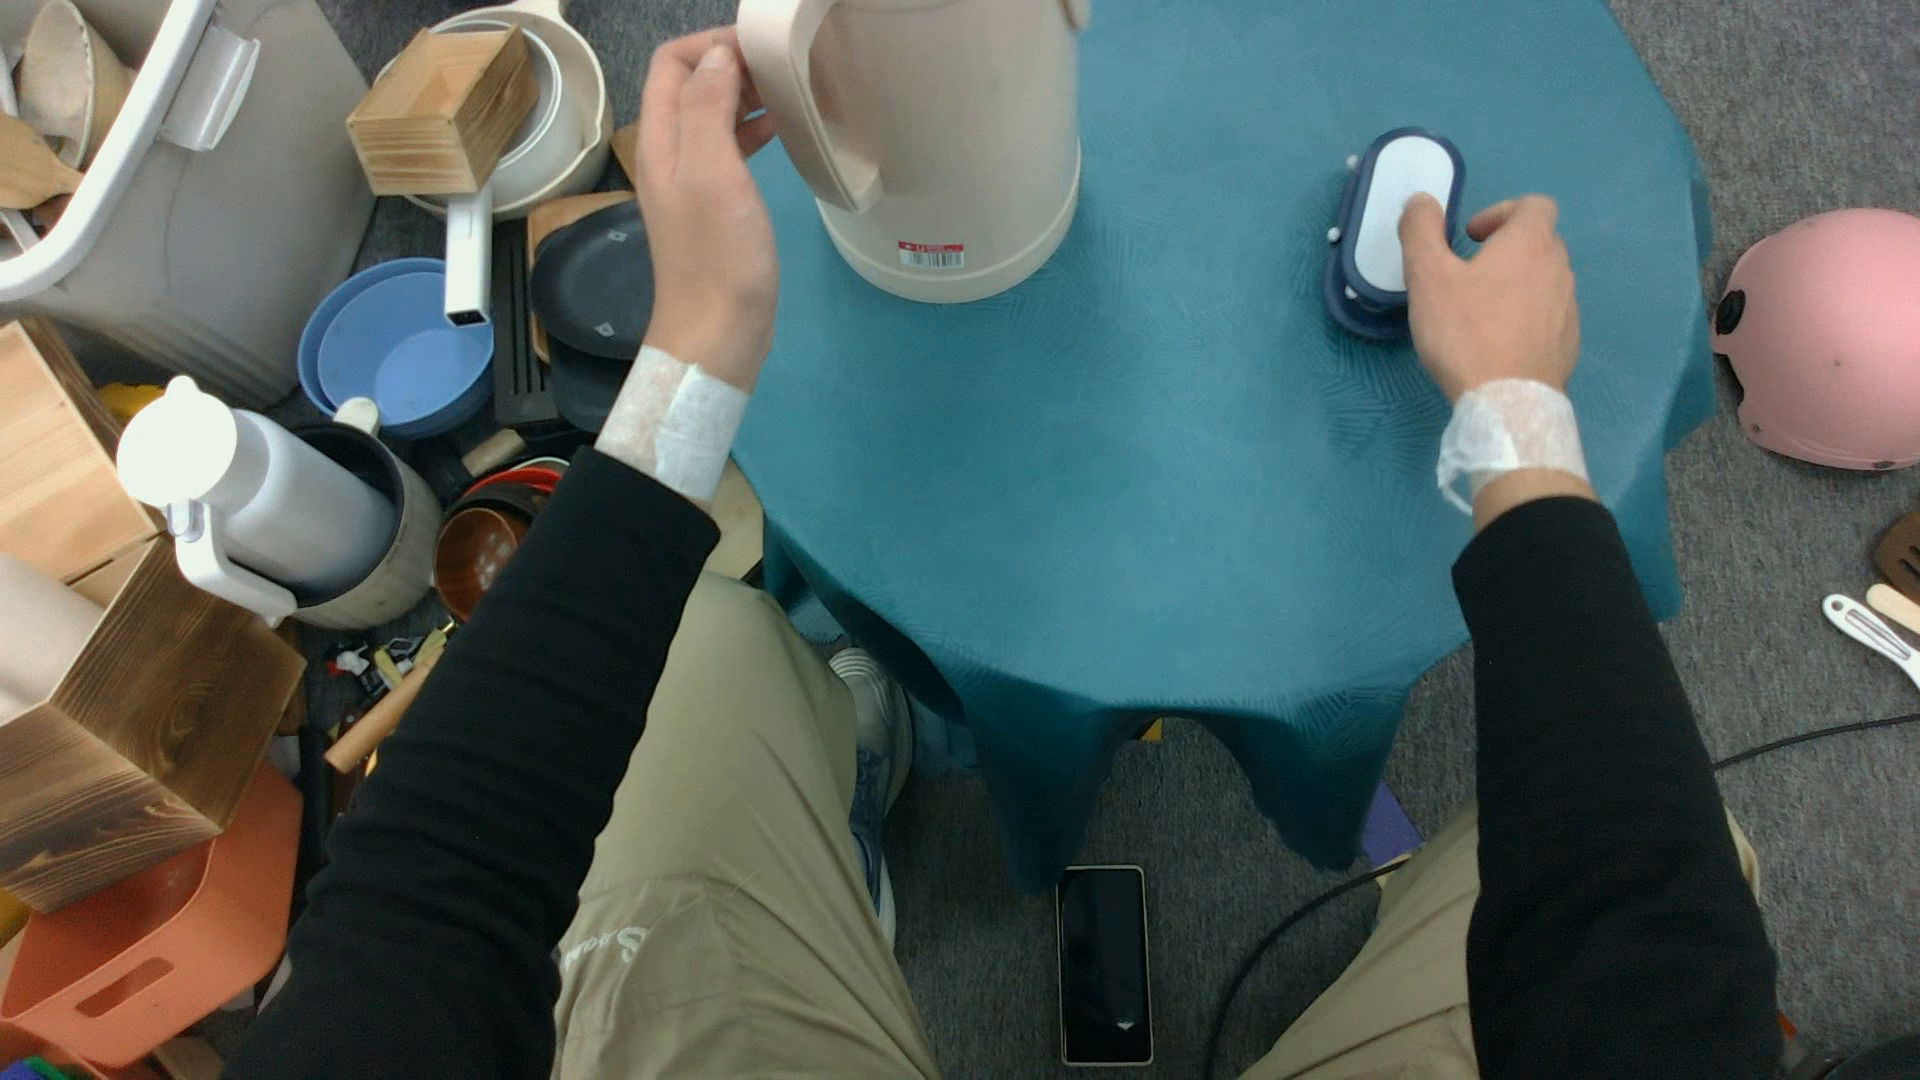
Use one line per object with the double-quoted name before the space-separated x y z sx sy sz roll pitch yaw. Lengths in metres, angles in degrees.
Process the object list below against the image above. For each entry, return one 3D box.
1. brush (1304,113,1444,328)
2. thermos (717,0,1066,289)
"brush" 0.235 -0.179 0.782 0.068 0.061 0.122 16 74 8
"thermos" -0.040 -0.267 0.644 0.175 0.405 0.207 24 75 8
